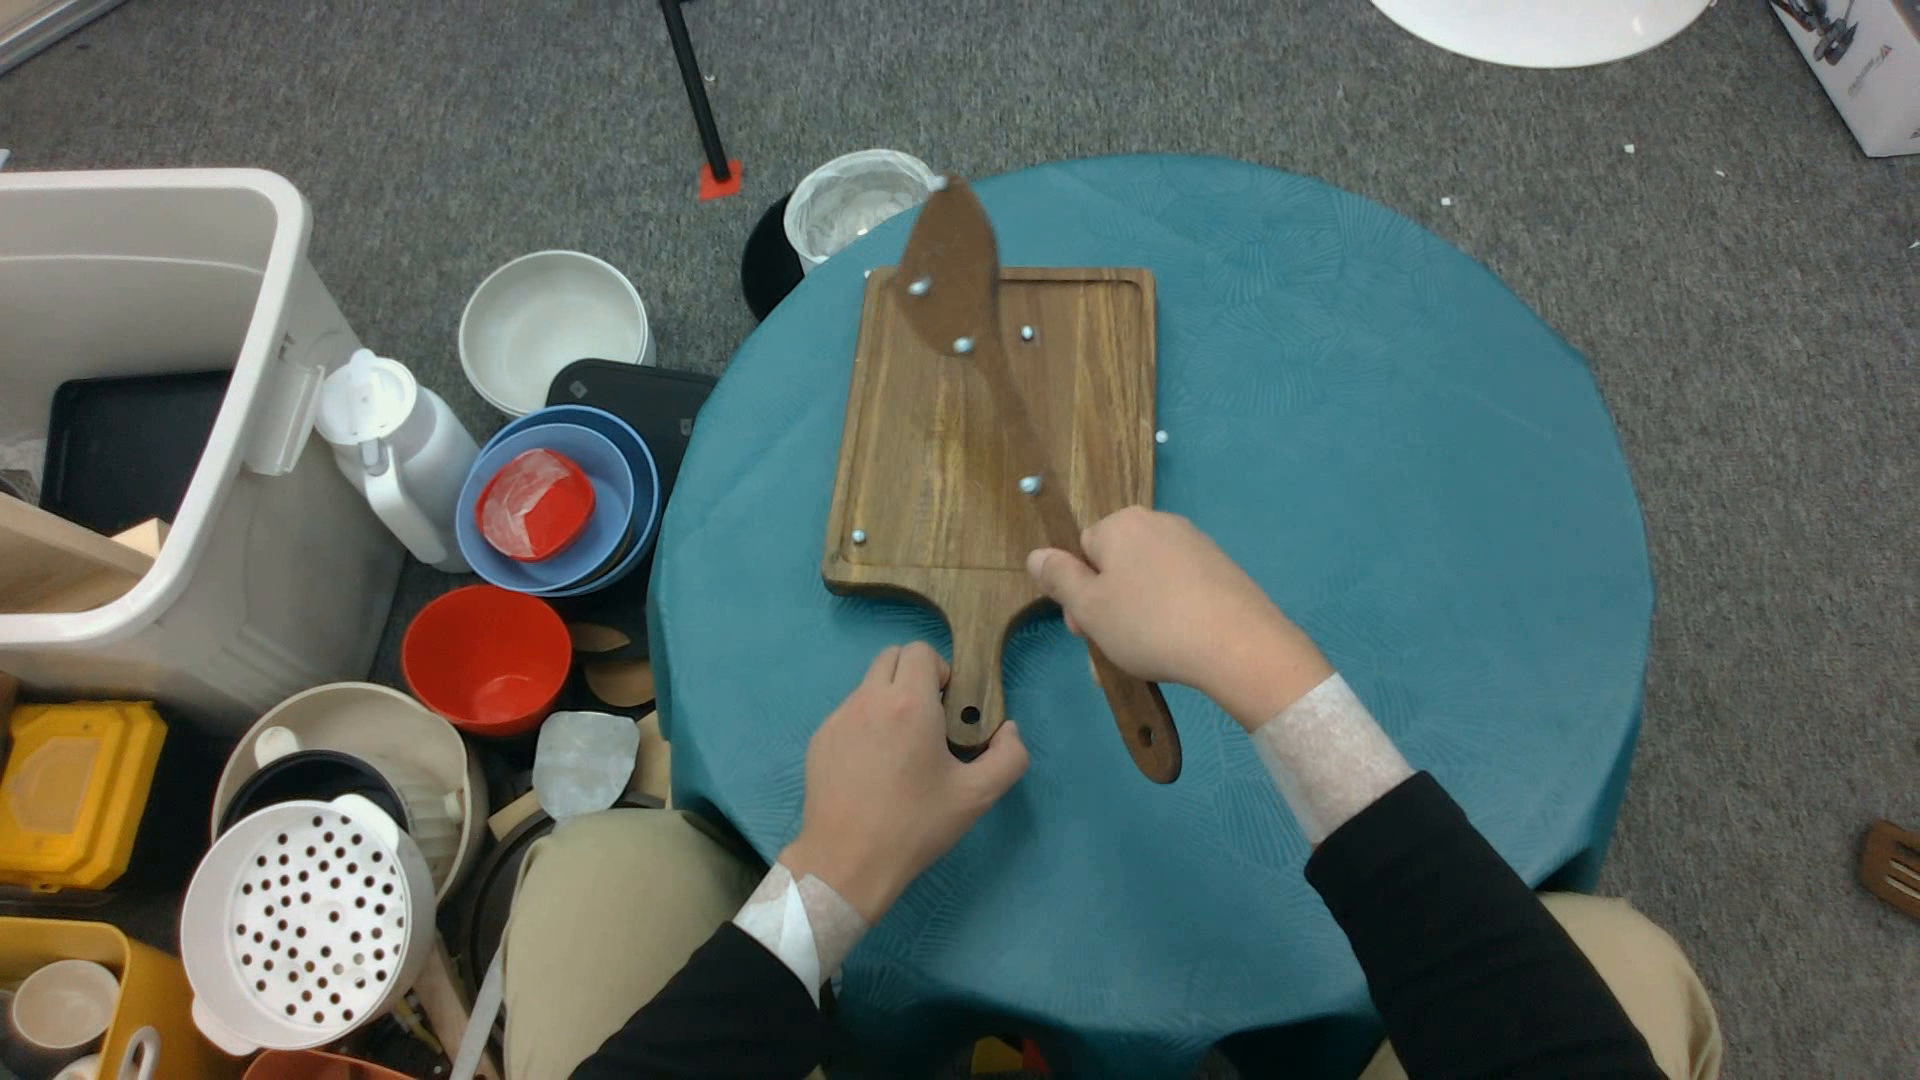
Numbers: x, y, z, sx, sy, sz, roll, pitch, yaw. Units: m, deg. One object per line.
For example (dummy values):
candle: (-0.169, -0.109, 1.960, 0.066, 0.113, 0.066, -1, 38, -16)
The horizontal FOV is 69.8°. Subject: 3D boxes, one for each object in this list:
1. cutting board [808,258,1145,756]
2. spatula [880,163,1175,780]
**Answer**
cutting board: (0.012, -0.036, 0.841, 0.201, 0.023, 0.353, 1, 59, 5)
spatula: (0.028, -0.047, 0.699, 0.016, 0.095, 0.387, 5, 47, -31)
